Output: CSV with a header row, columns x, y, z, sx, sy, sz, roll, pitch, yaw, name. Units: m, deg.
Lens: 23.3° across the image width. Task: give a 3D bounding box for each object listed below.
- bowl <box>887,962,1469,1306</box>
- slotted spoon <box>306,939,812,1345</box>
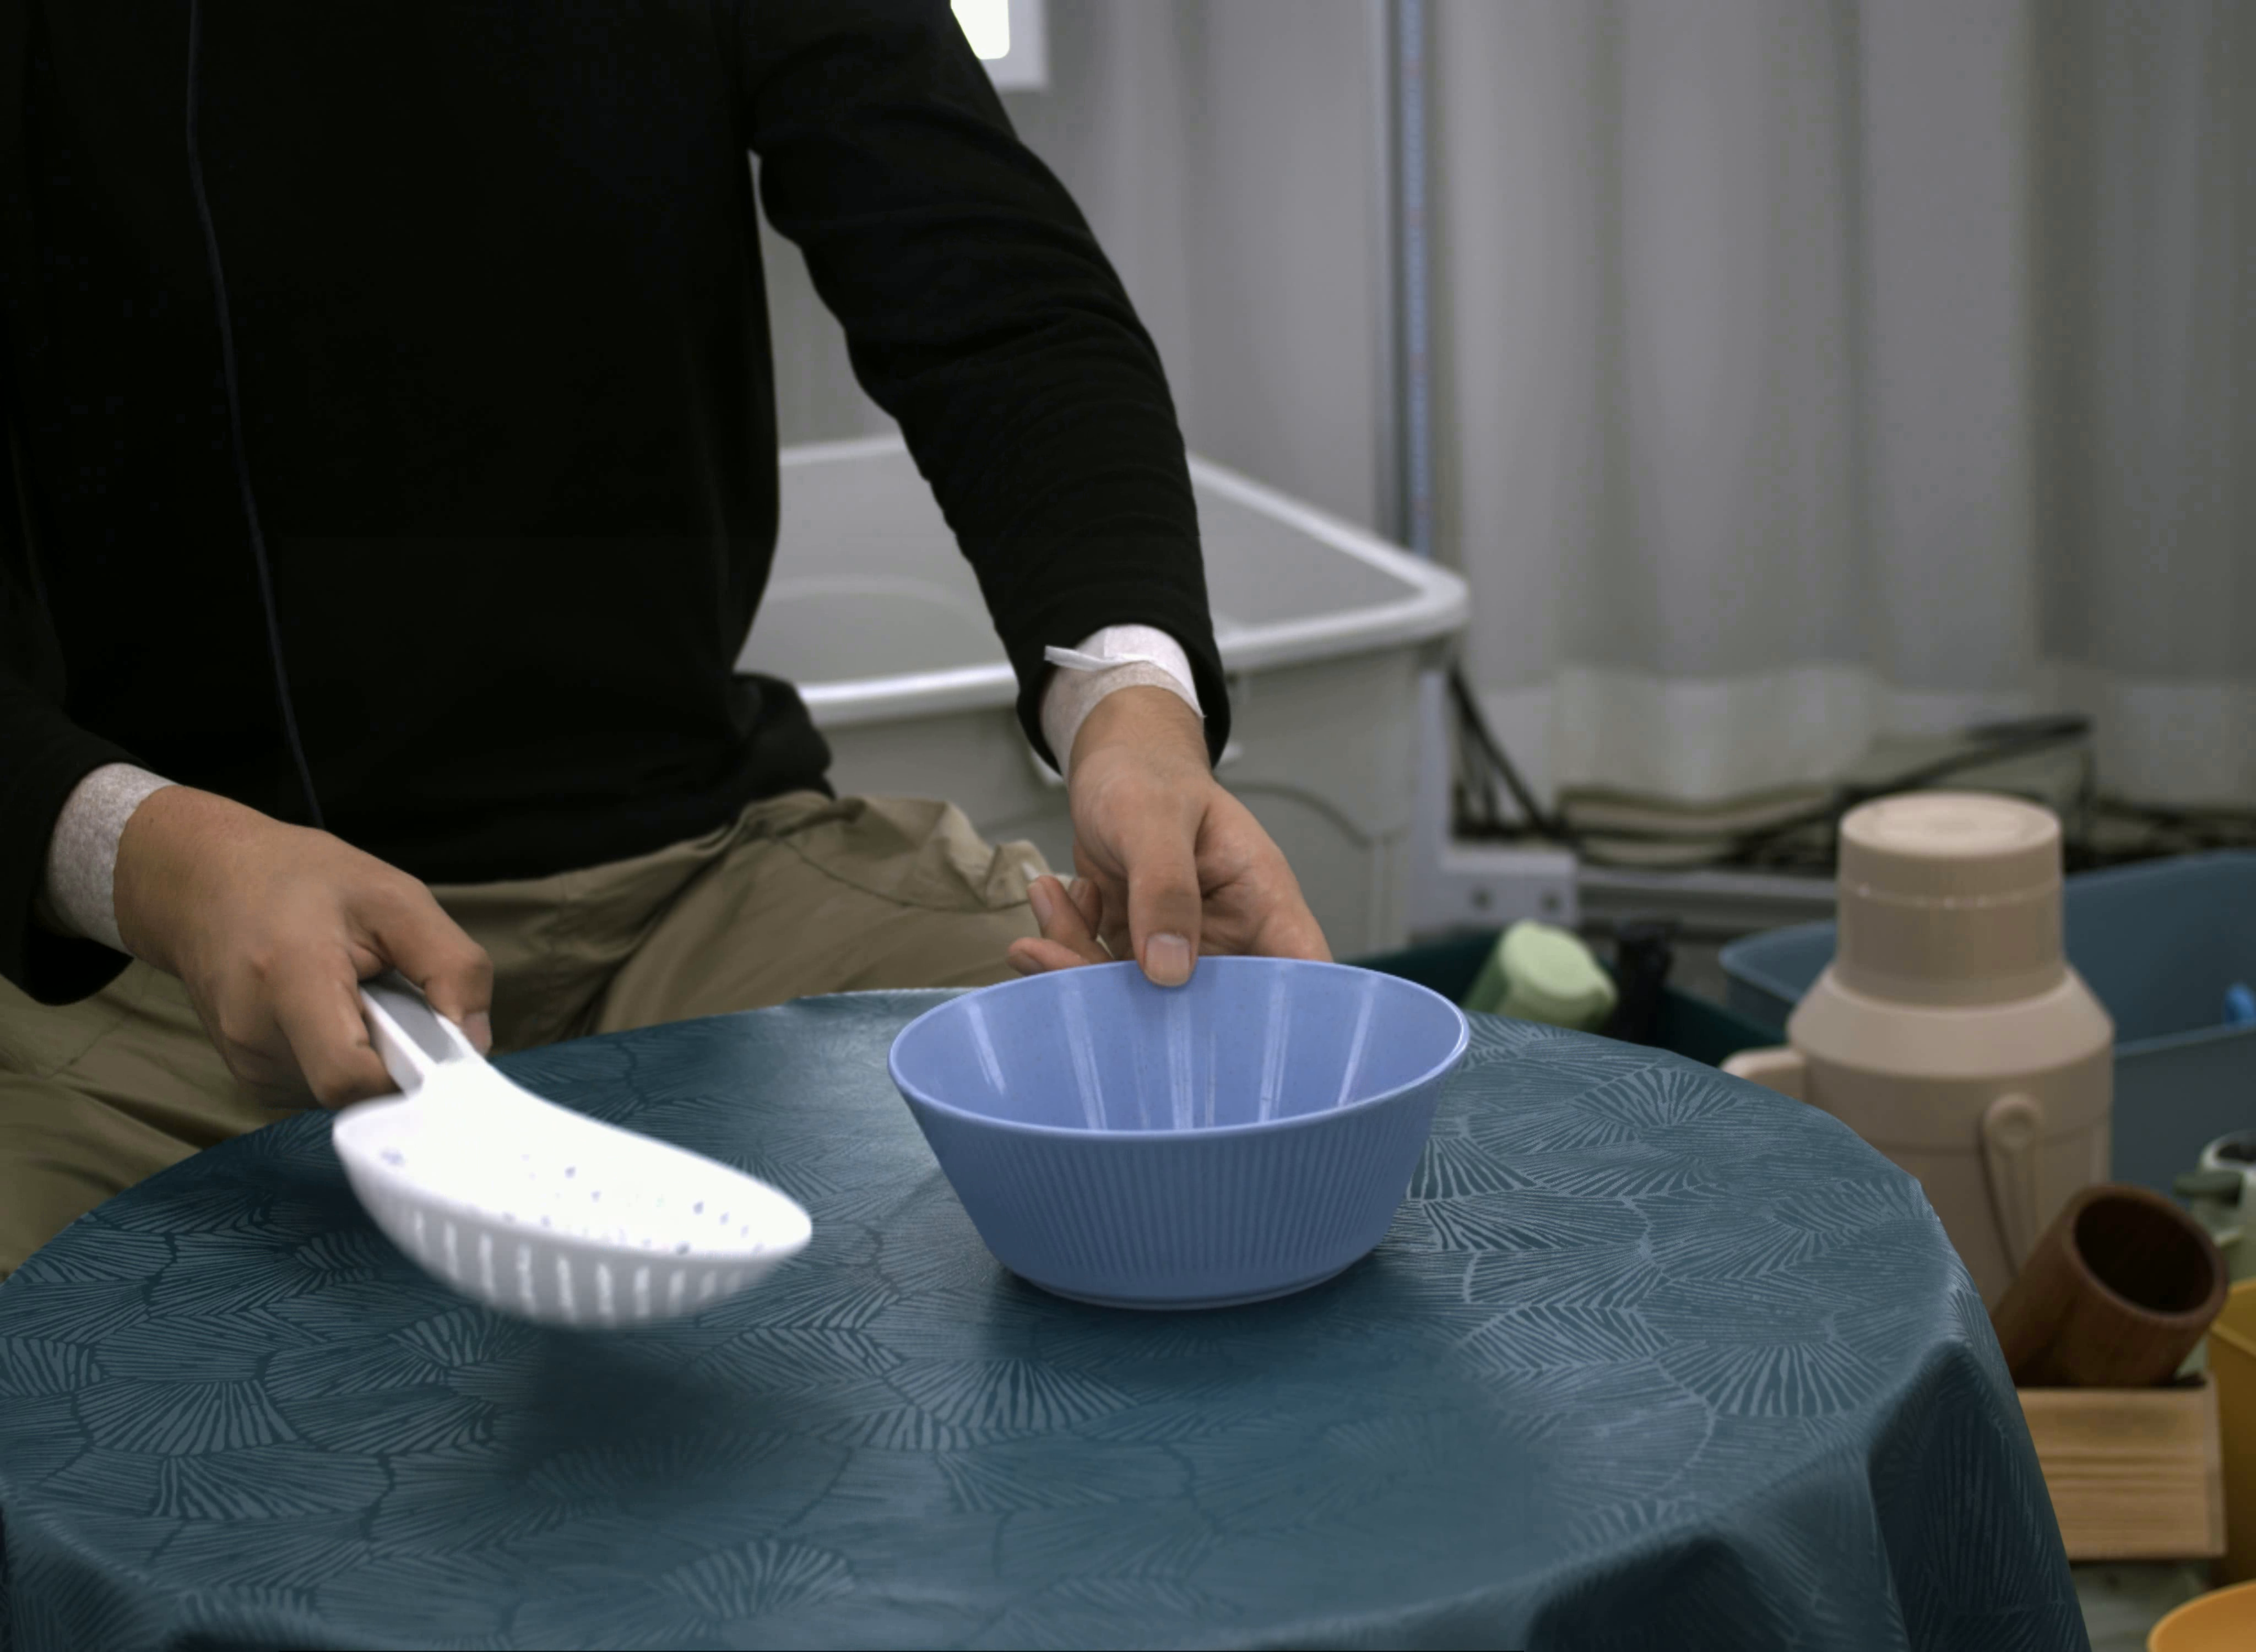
x,y,z,sx,sy,sz,roll,pitch,yaw,name
0.017,0.095,1.650,0.175,0.070,0.177,-3,14,1,bowl
-0.195,0.085,1.620,0.135,0.045,0.353,8,15,-23,slotted spoon
